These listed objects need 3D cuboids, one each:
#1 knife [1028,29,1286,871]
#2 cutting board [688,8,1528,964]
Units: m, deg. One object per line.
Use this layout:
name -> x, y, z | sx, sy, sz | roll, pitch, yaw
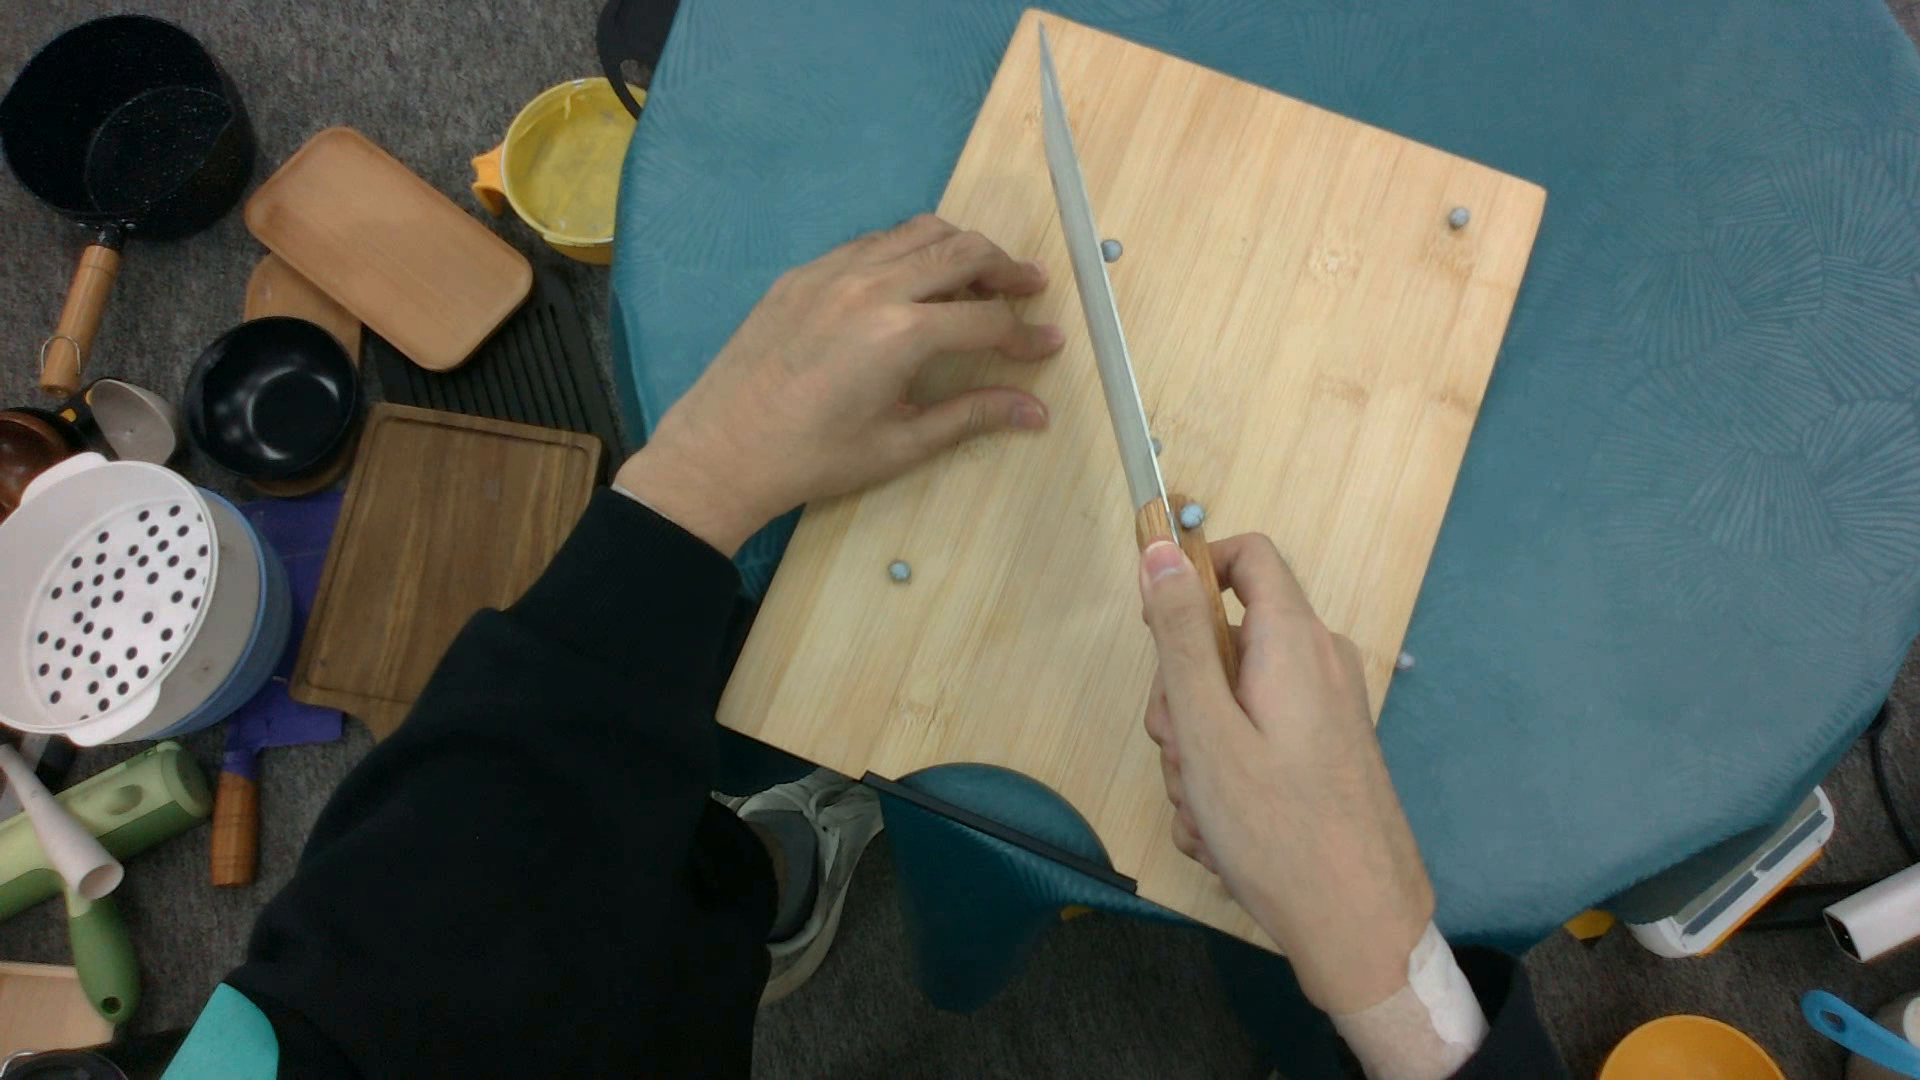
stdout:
knife -> 0.061, -0.034, 0.493 | 0.021, 0.093, 0.306 | -13, 74, 0
cutting board -> 0.071, -0.037, 0.569 | 0.250, 0.023, 0.349 | 20, 76, 4
